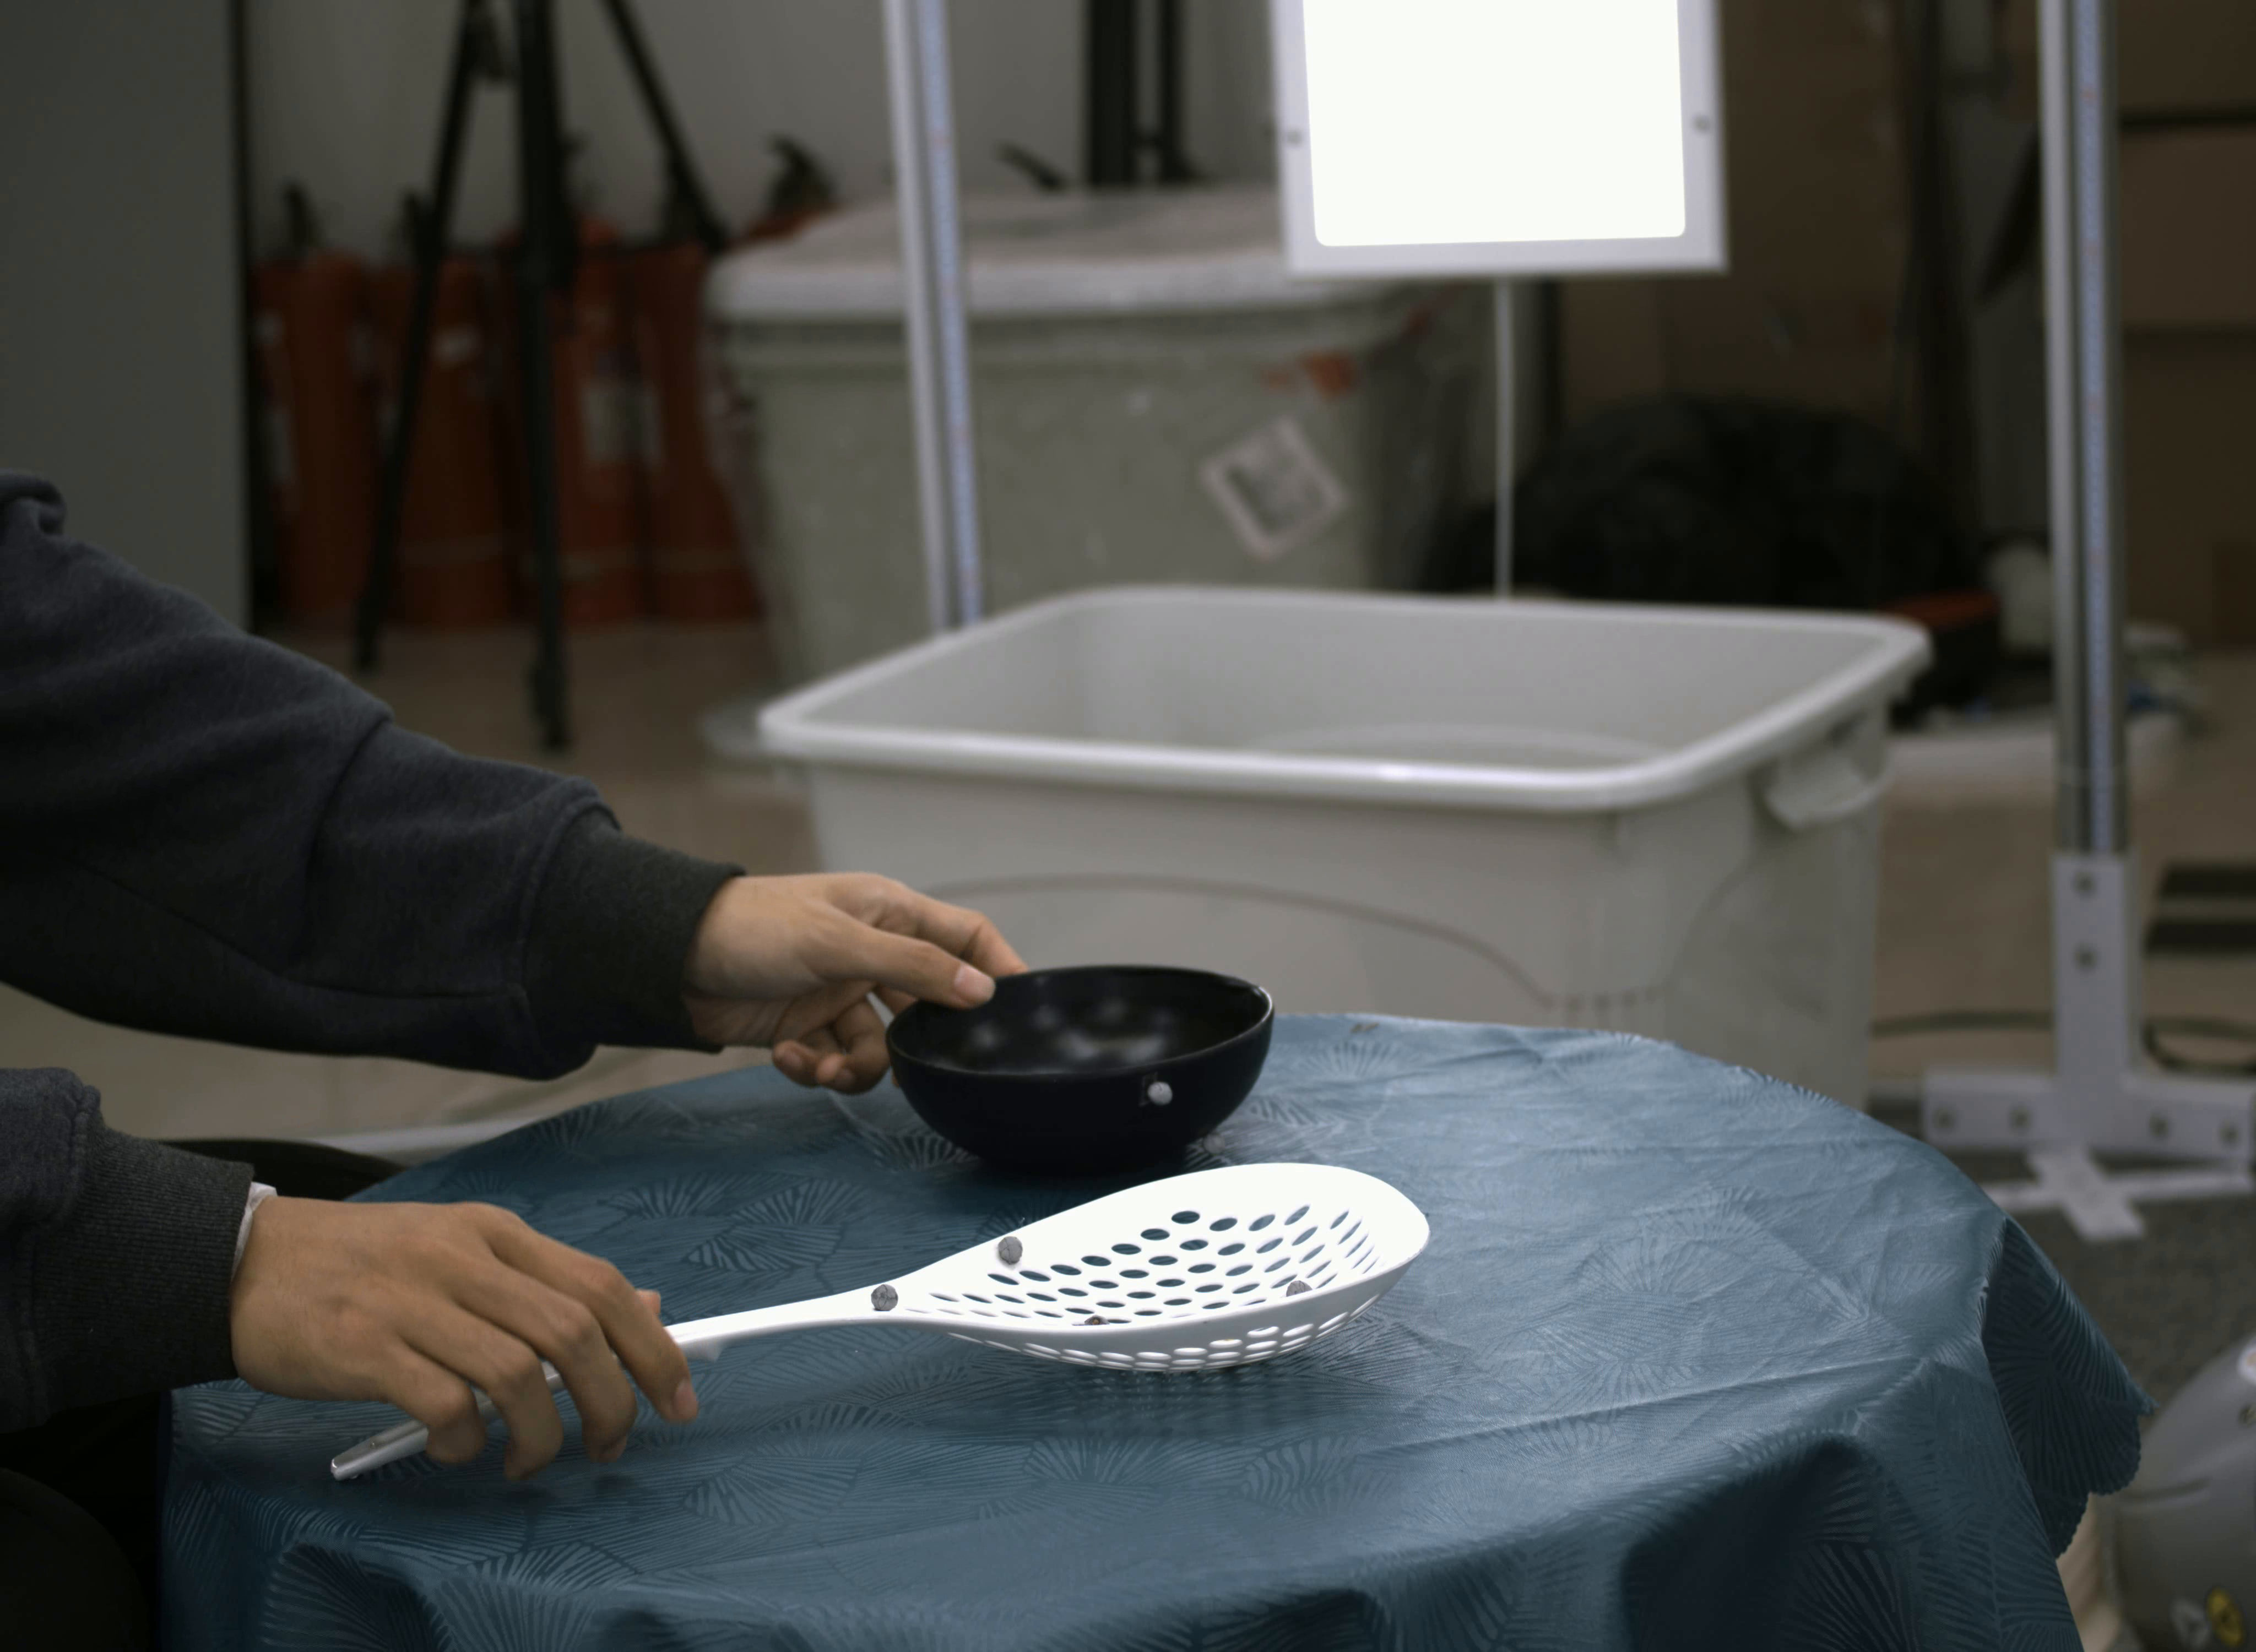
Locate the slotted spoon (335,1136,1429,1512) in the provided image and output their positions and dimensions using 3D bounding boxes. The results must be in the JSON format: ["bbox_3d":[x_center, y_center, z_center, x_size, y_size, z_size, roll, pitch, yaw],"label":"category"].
[{"bbox_3d":[-0.076,0.159,1.709,0.344,0.050,0.137,-8,17,-9],"label":"slotted spoon"}]
